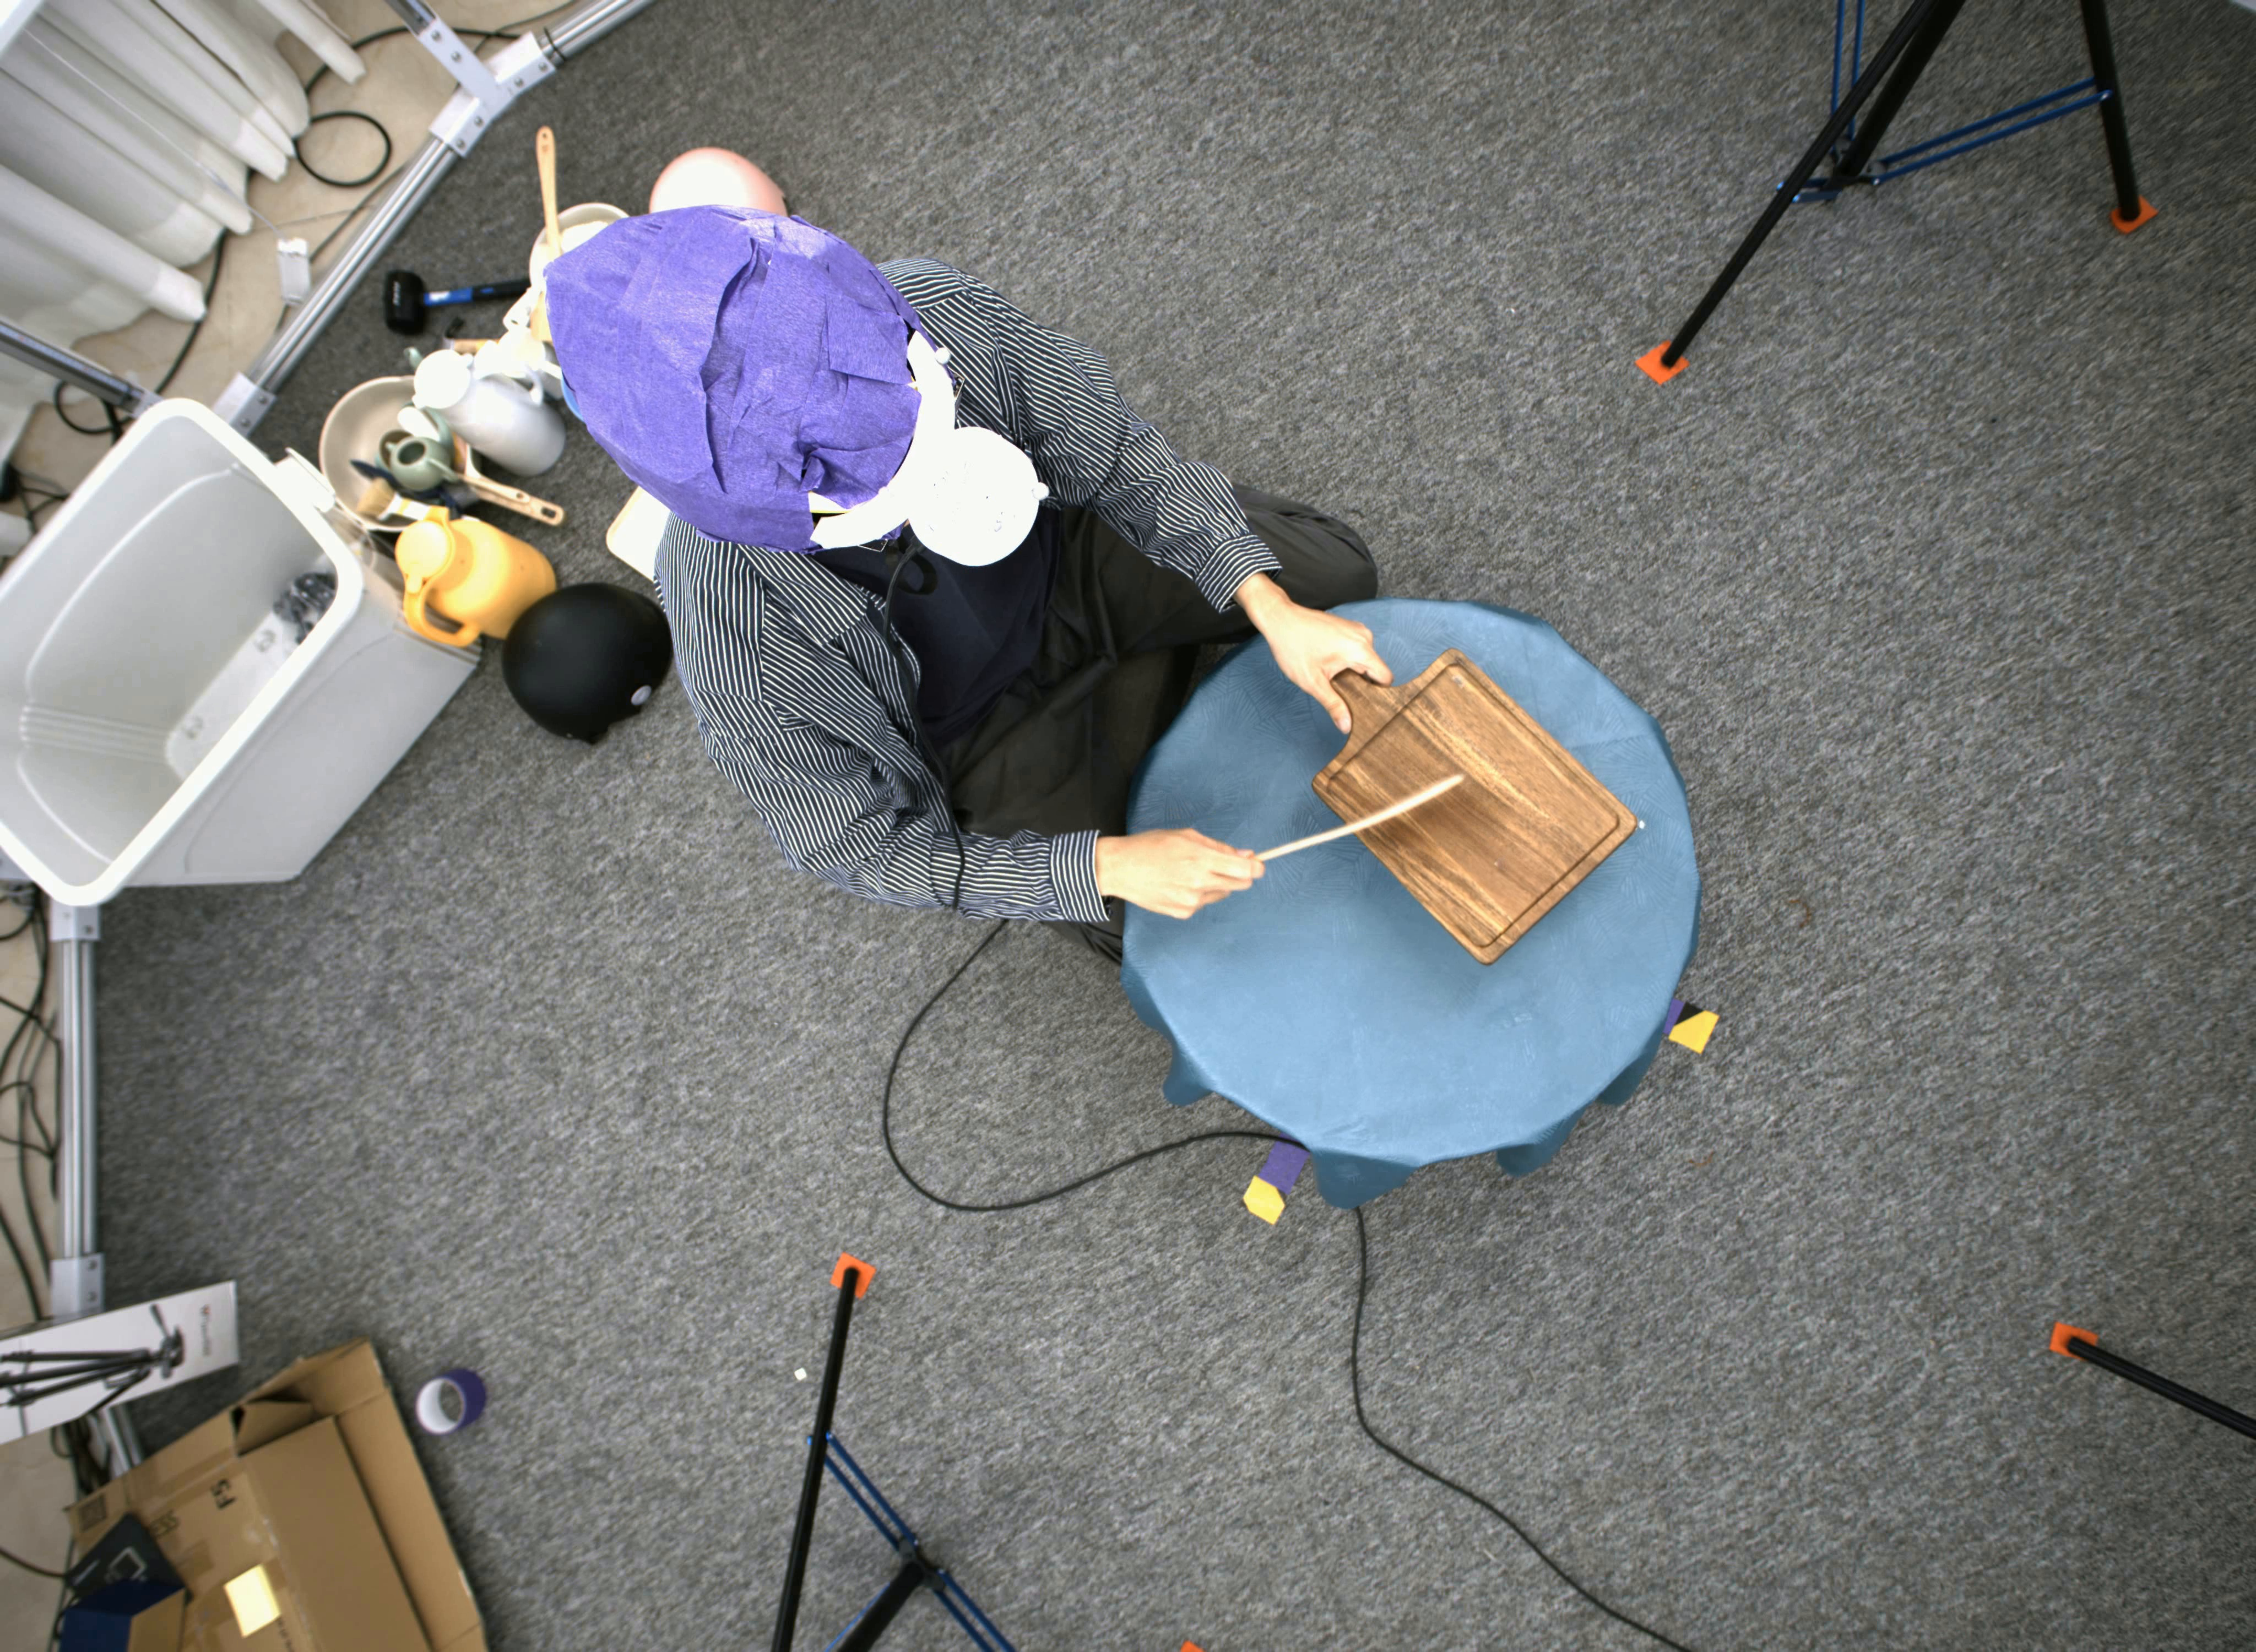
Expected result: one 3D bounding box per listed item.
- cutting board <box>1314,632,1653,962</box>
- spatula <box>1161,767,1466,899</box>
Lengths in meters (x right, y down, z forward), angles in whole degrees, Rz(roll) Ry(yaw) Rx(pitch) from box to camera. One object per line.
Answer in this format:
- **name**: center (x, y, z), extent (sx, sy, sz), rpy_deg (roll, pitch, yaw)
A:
- **cutting board**: center (0.304, -0.064, 1.314), extent (0.203, 0.023, 0.349), rpy_deg (-45, 72, 11)
- **spatula**: center (0.172, 0.008, 1.306), extent (0.332, 0.079, 0.016), rpy_deg (-22, 92, 25)
